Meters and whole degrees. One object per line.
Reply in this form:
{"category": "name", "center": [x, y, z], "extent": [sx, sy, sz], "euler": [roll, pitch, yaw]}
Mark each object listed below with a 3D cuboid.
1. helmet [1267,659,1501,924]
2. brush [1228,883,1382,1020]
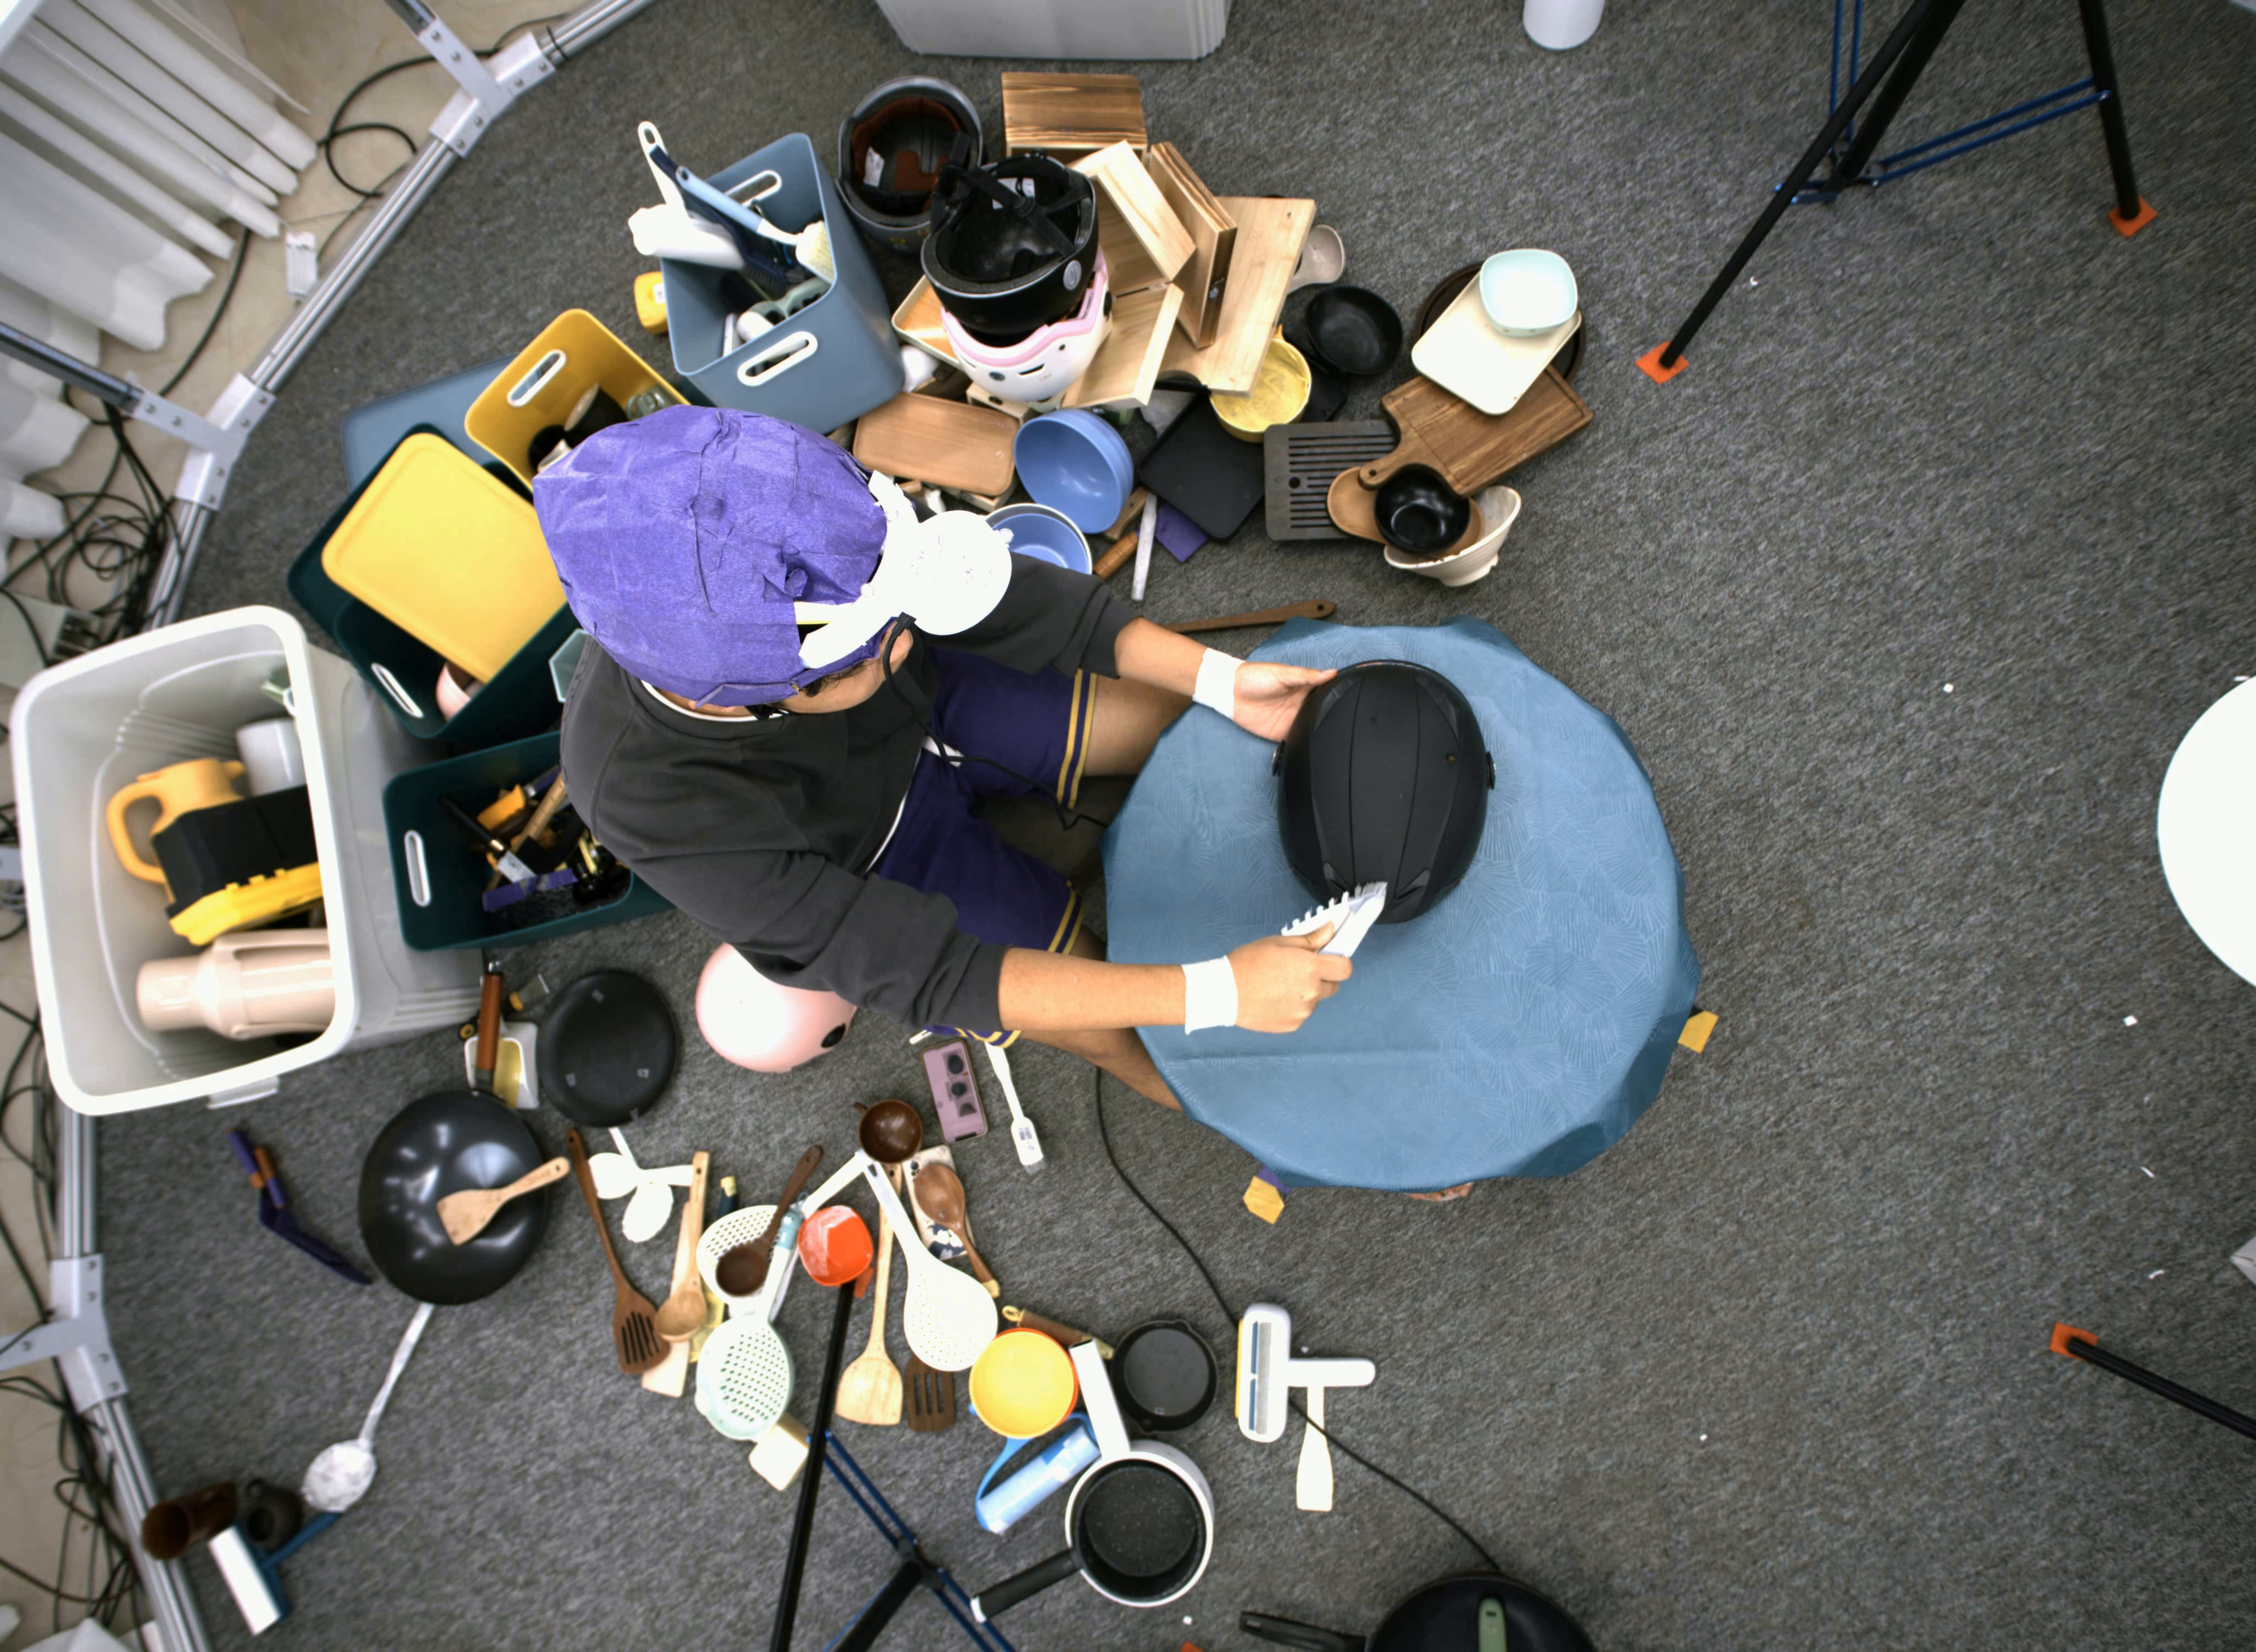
{"category": "helmet", "center": [0.258, -0.039, 1.387], "extent": [0.247, 0.172, 0.277], "euler": [6, 92, 10]}
{"category": "brush", "center": [0.175, 0.119, 1.308], "extent": [0.177, 0.093, 0.062], "euler": [-40, 100, 12]}
